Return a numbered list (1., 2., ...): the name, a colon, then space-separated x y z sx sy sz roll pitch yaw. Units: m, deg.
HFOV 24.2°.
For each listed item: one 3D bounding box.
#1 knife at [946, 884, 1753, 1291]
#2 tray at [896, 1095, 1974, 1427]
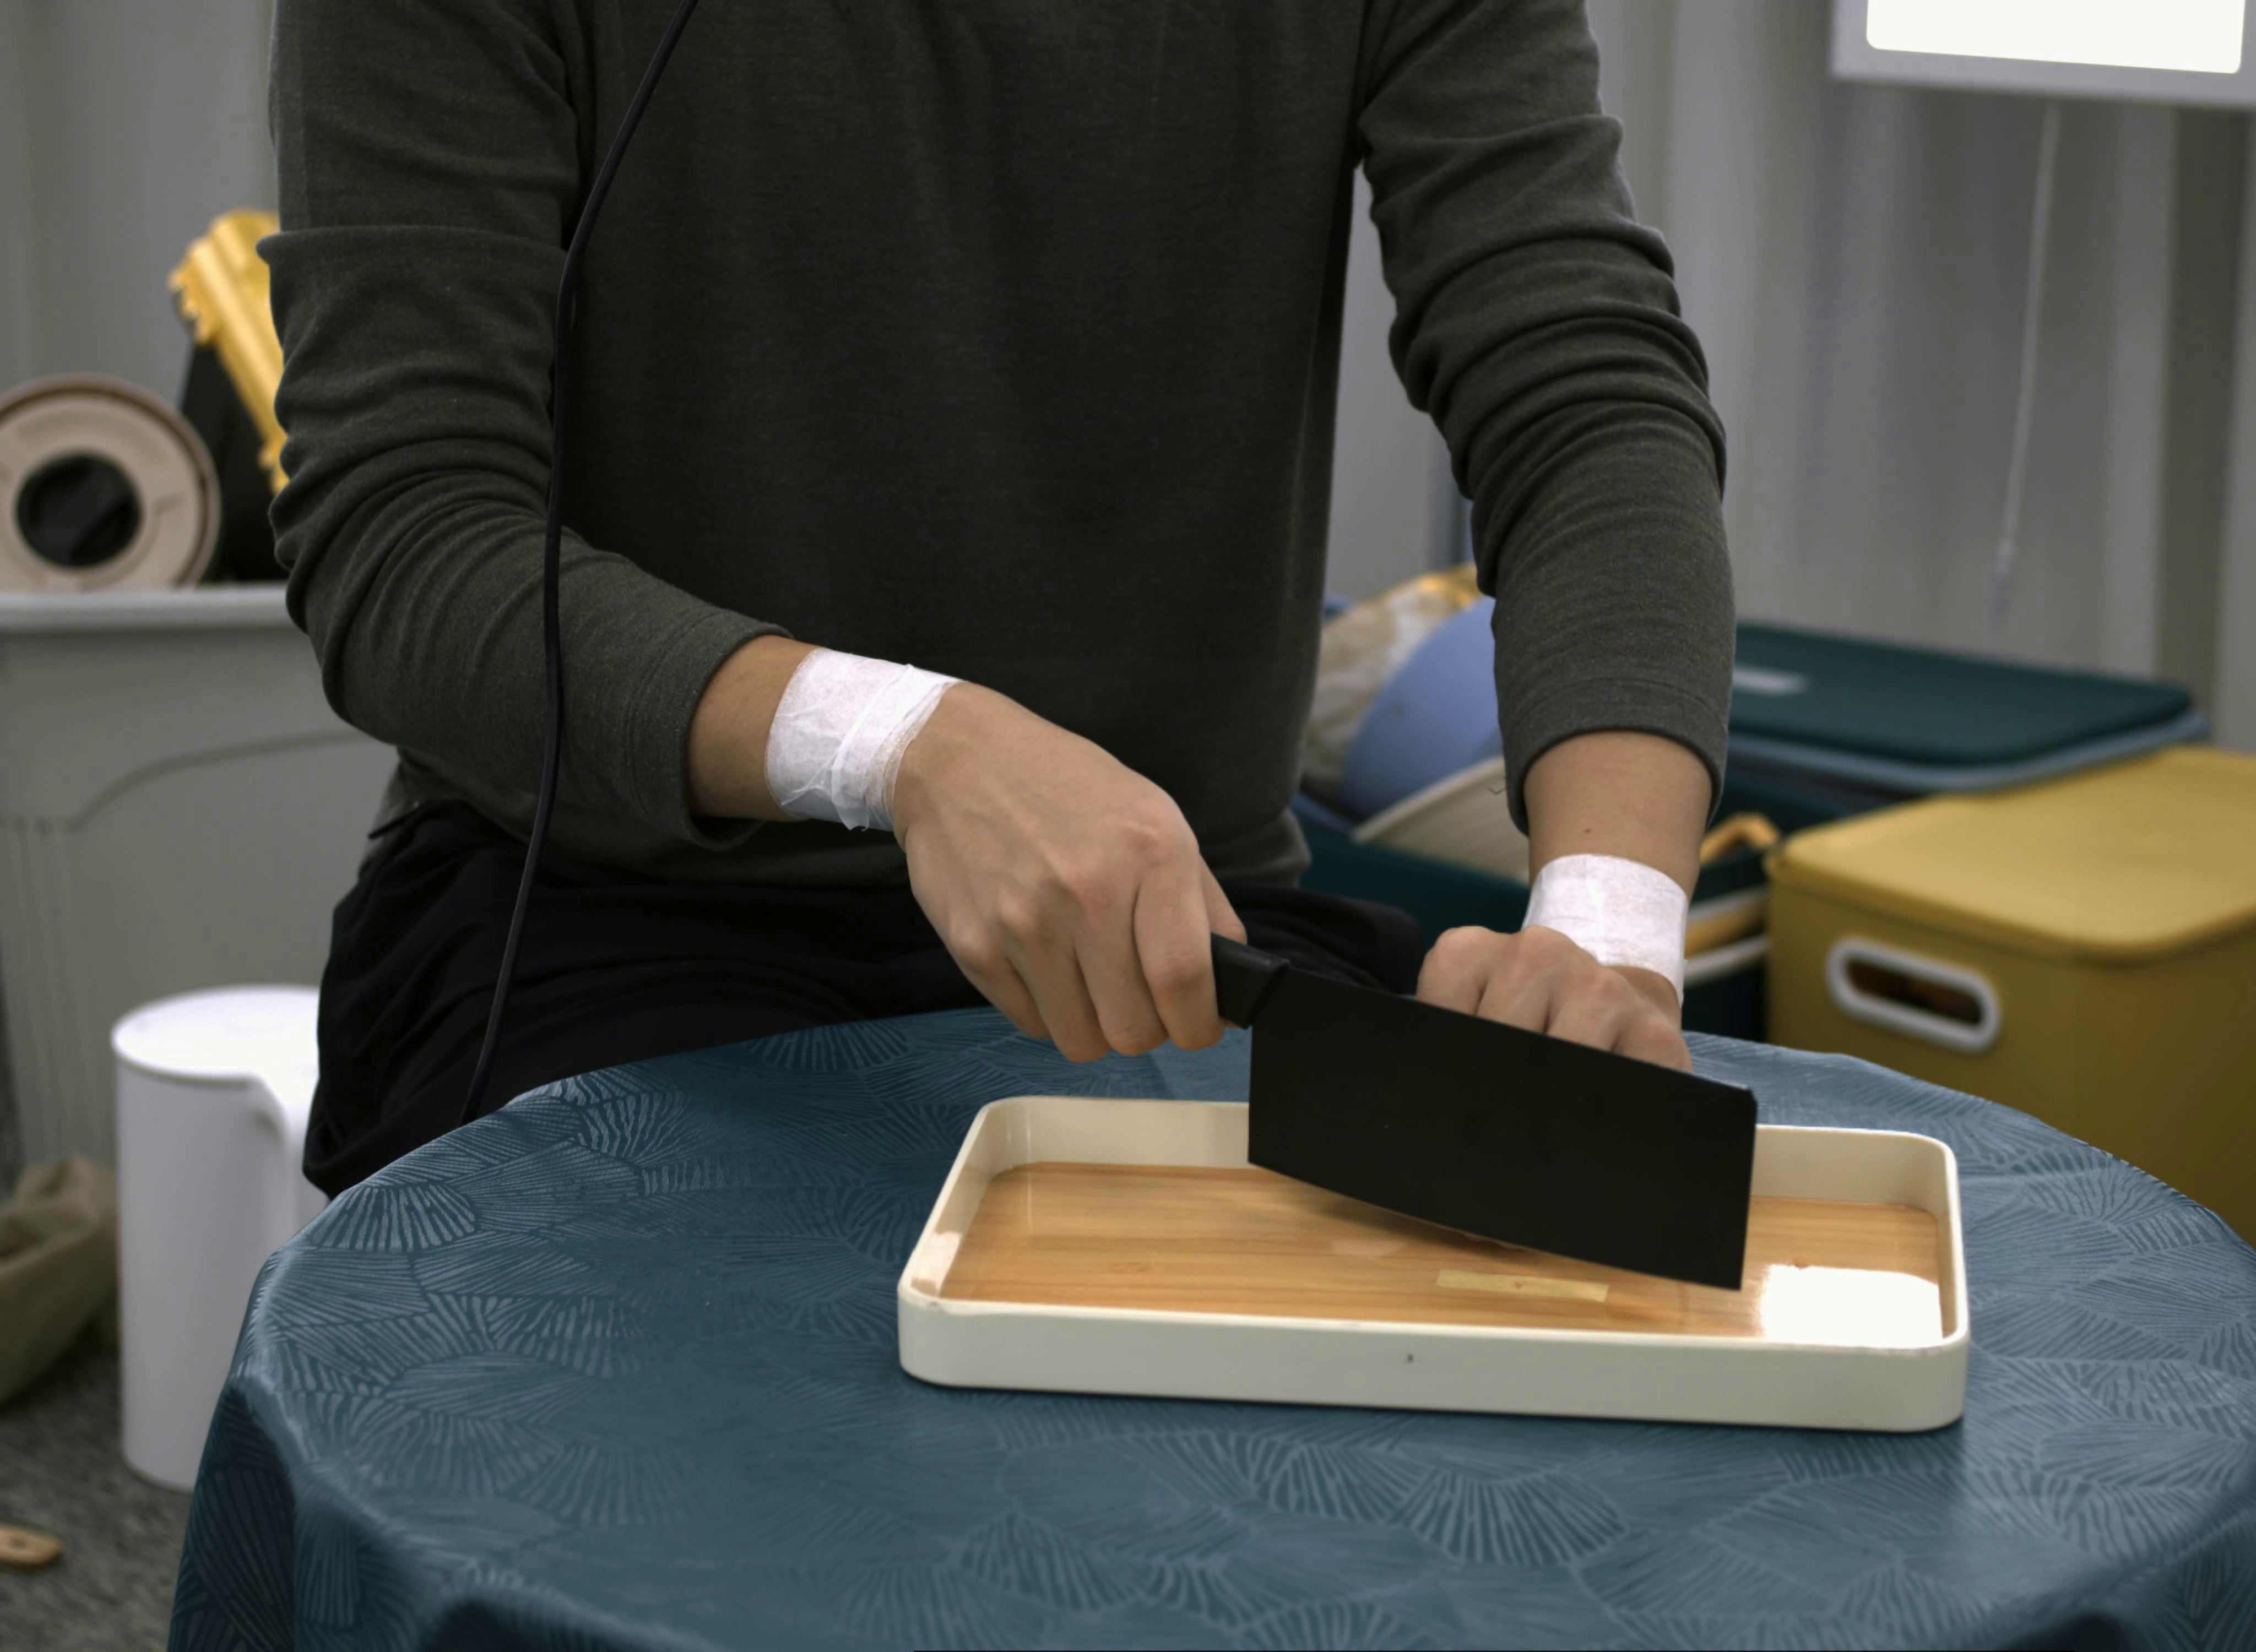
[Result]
1. knife: 0.061 0.072 1.570 0.298 0.081 0.021 20 21 36
2. tray: 0.092 0.125 1.534 0.299 0.027 0.191 2 15 6
